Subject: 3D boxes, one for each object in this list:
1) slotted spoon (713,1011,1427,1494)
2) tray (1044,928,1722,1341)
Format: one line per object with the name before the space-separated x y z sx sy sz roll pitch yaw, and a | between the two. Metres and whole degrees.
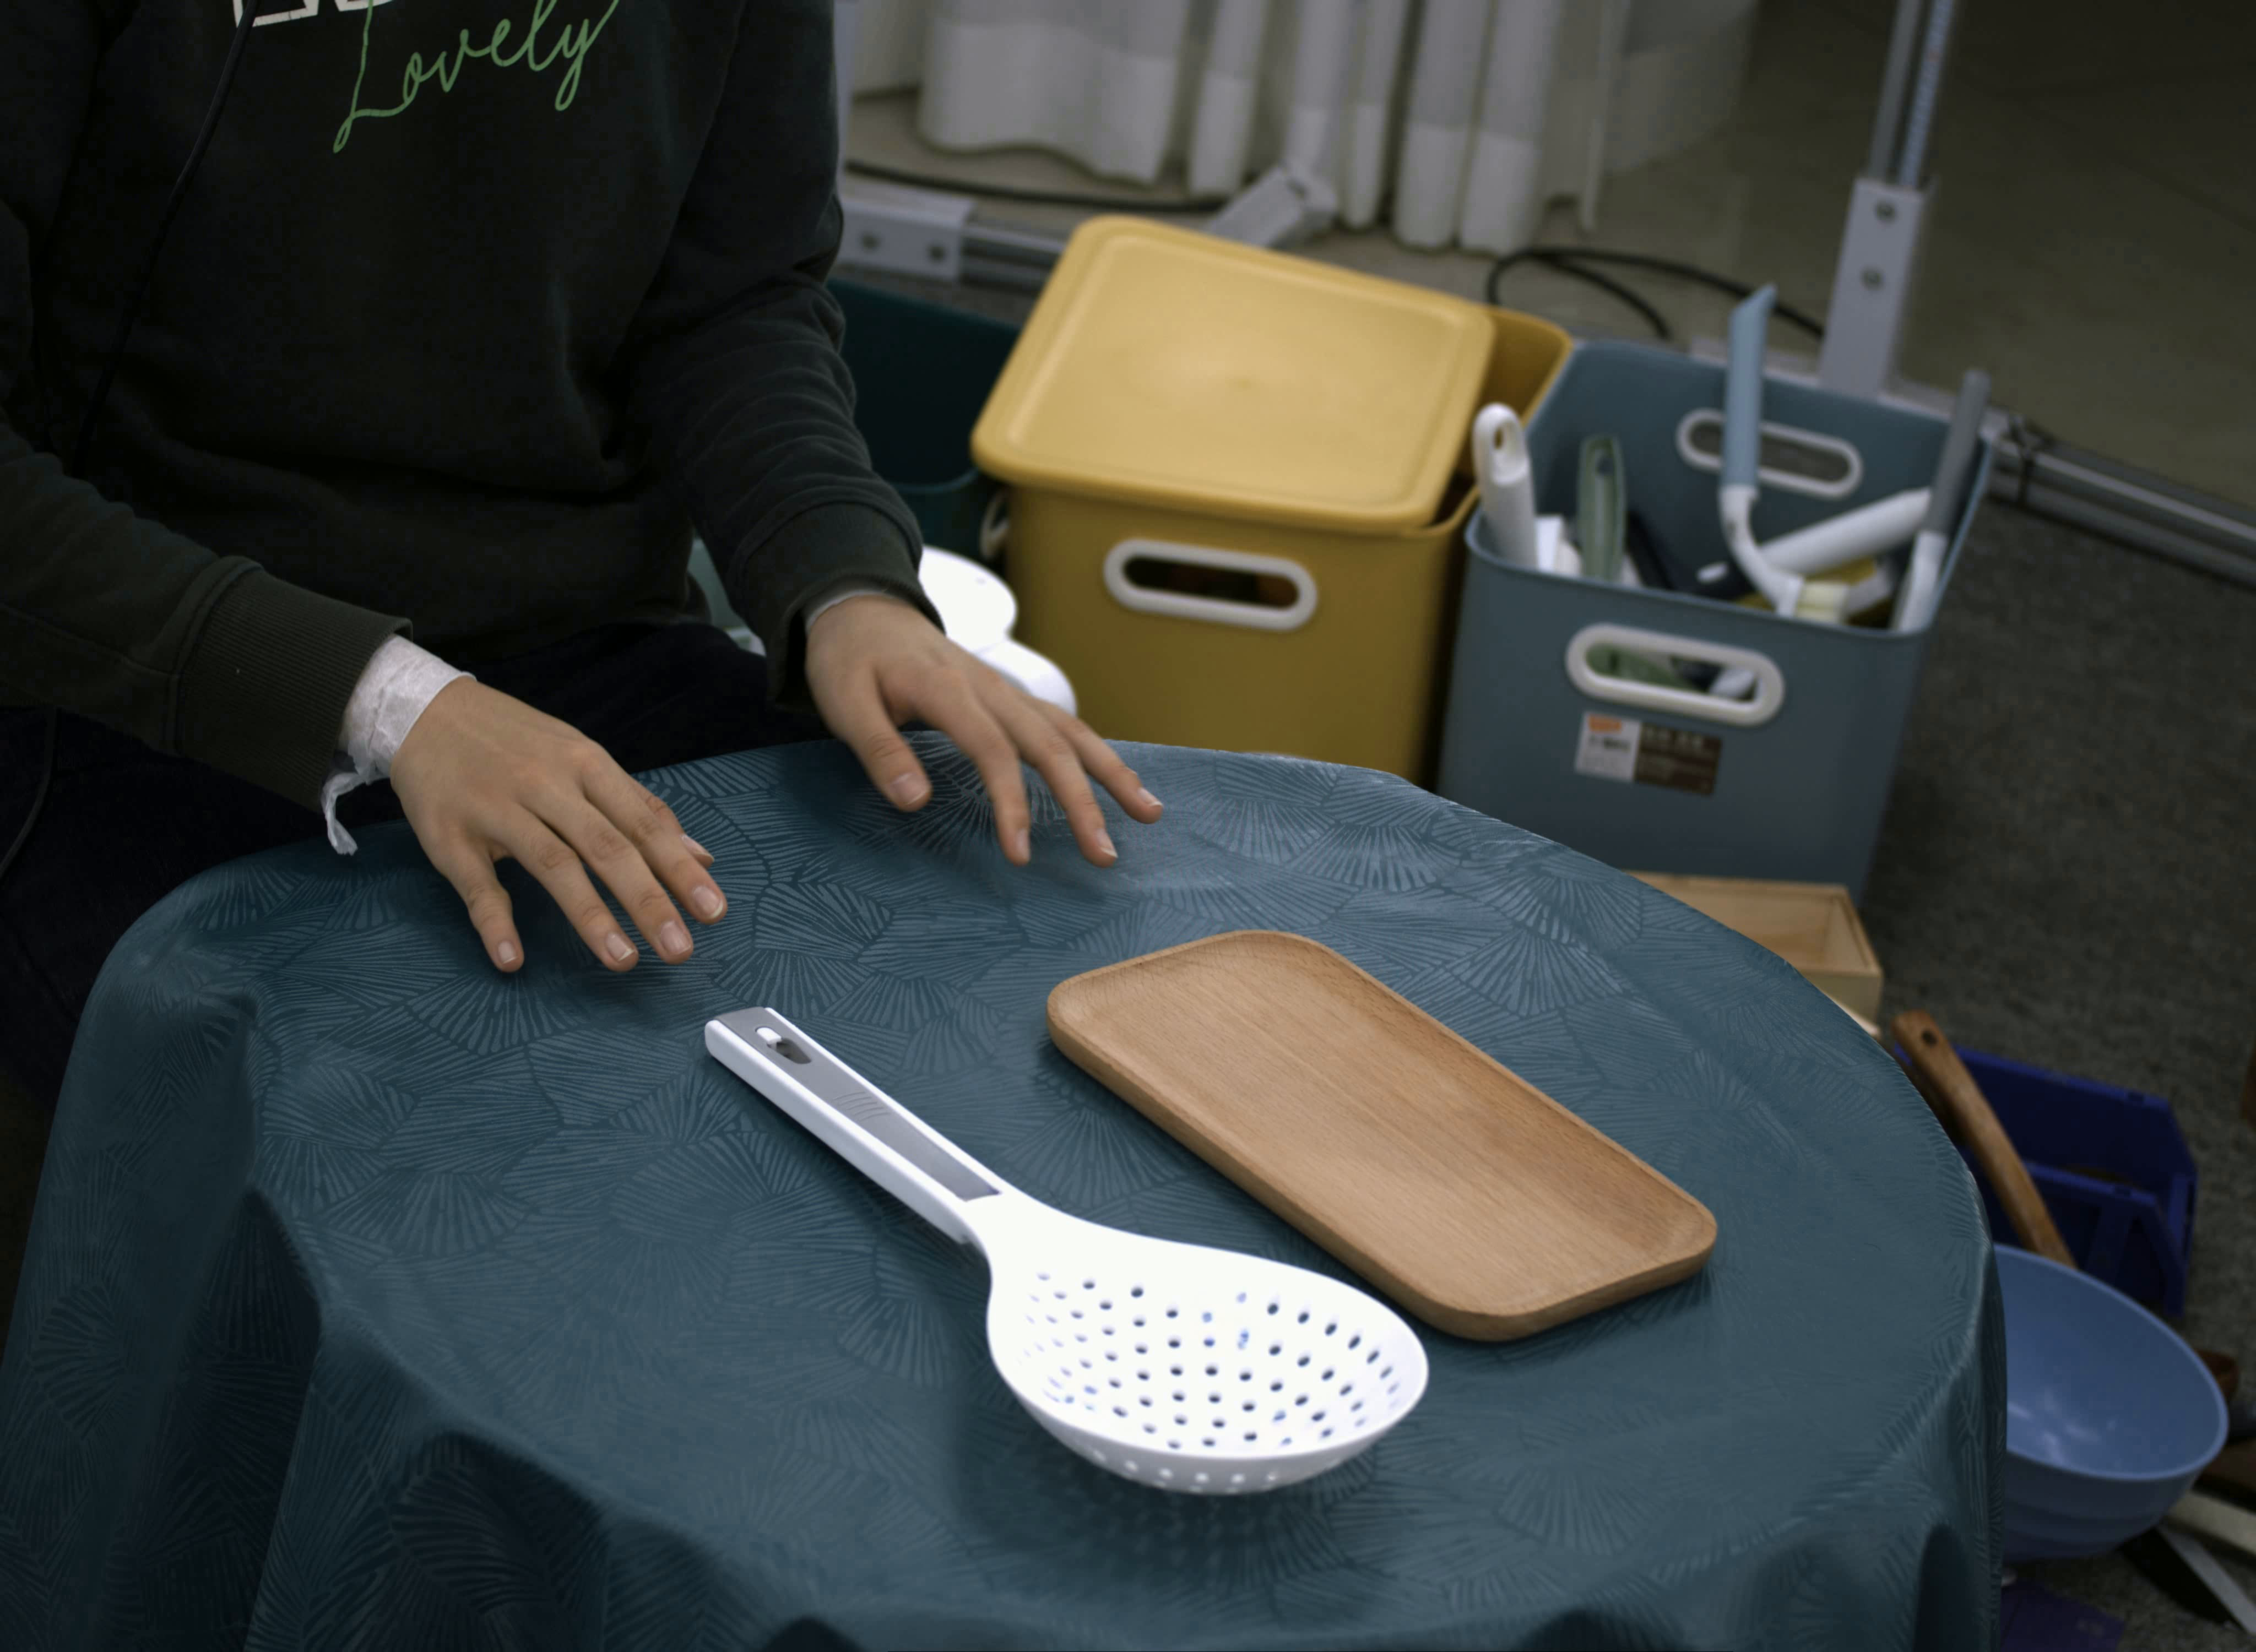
slotted spoon | -0.037 0.132 1.725 0.135 0.045 0.353 -9 30 -34
tray | 0.084 0.104 1.840 0.130 0.023 0.253 -12 31 -36
